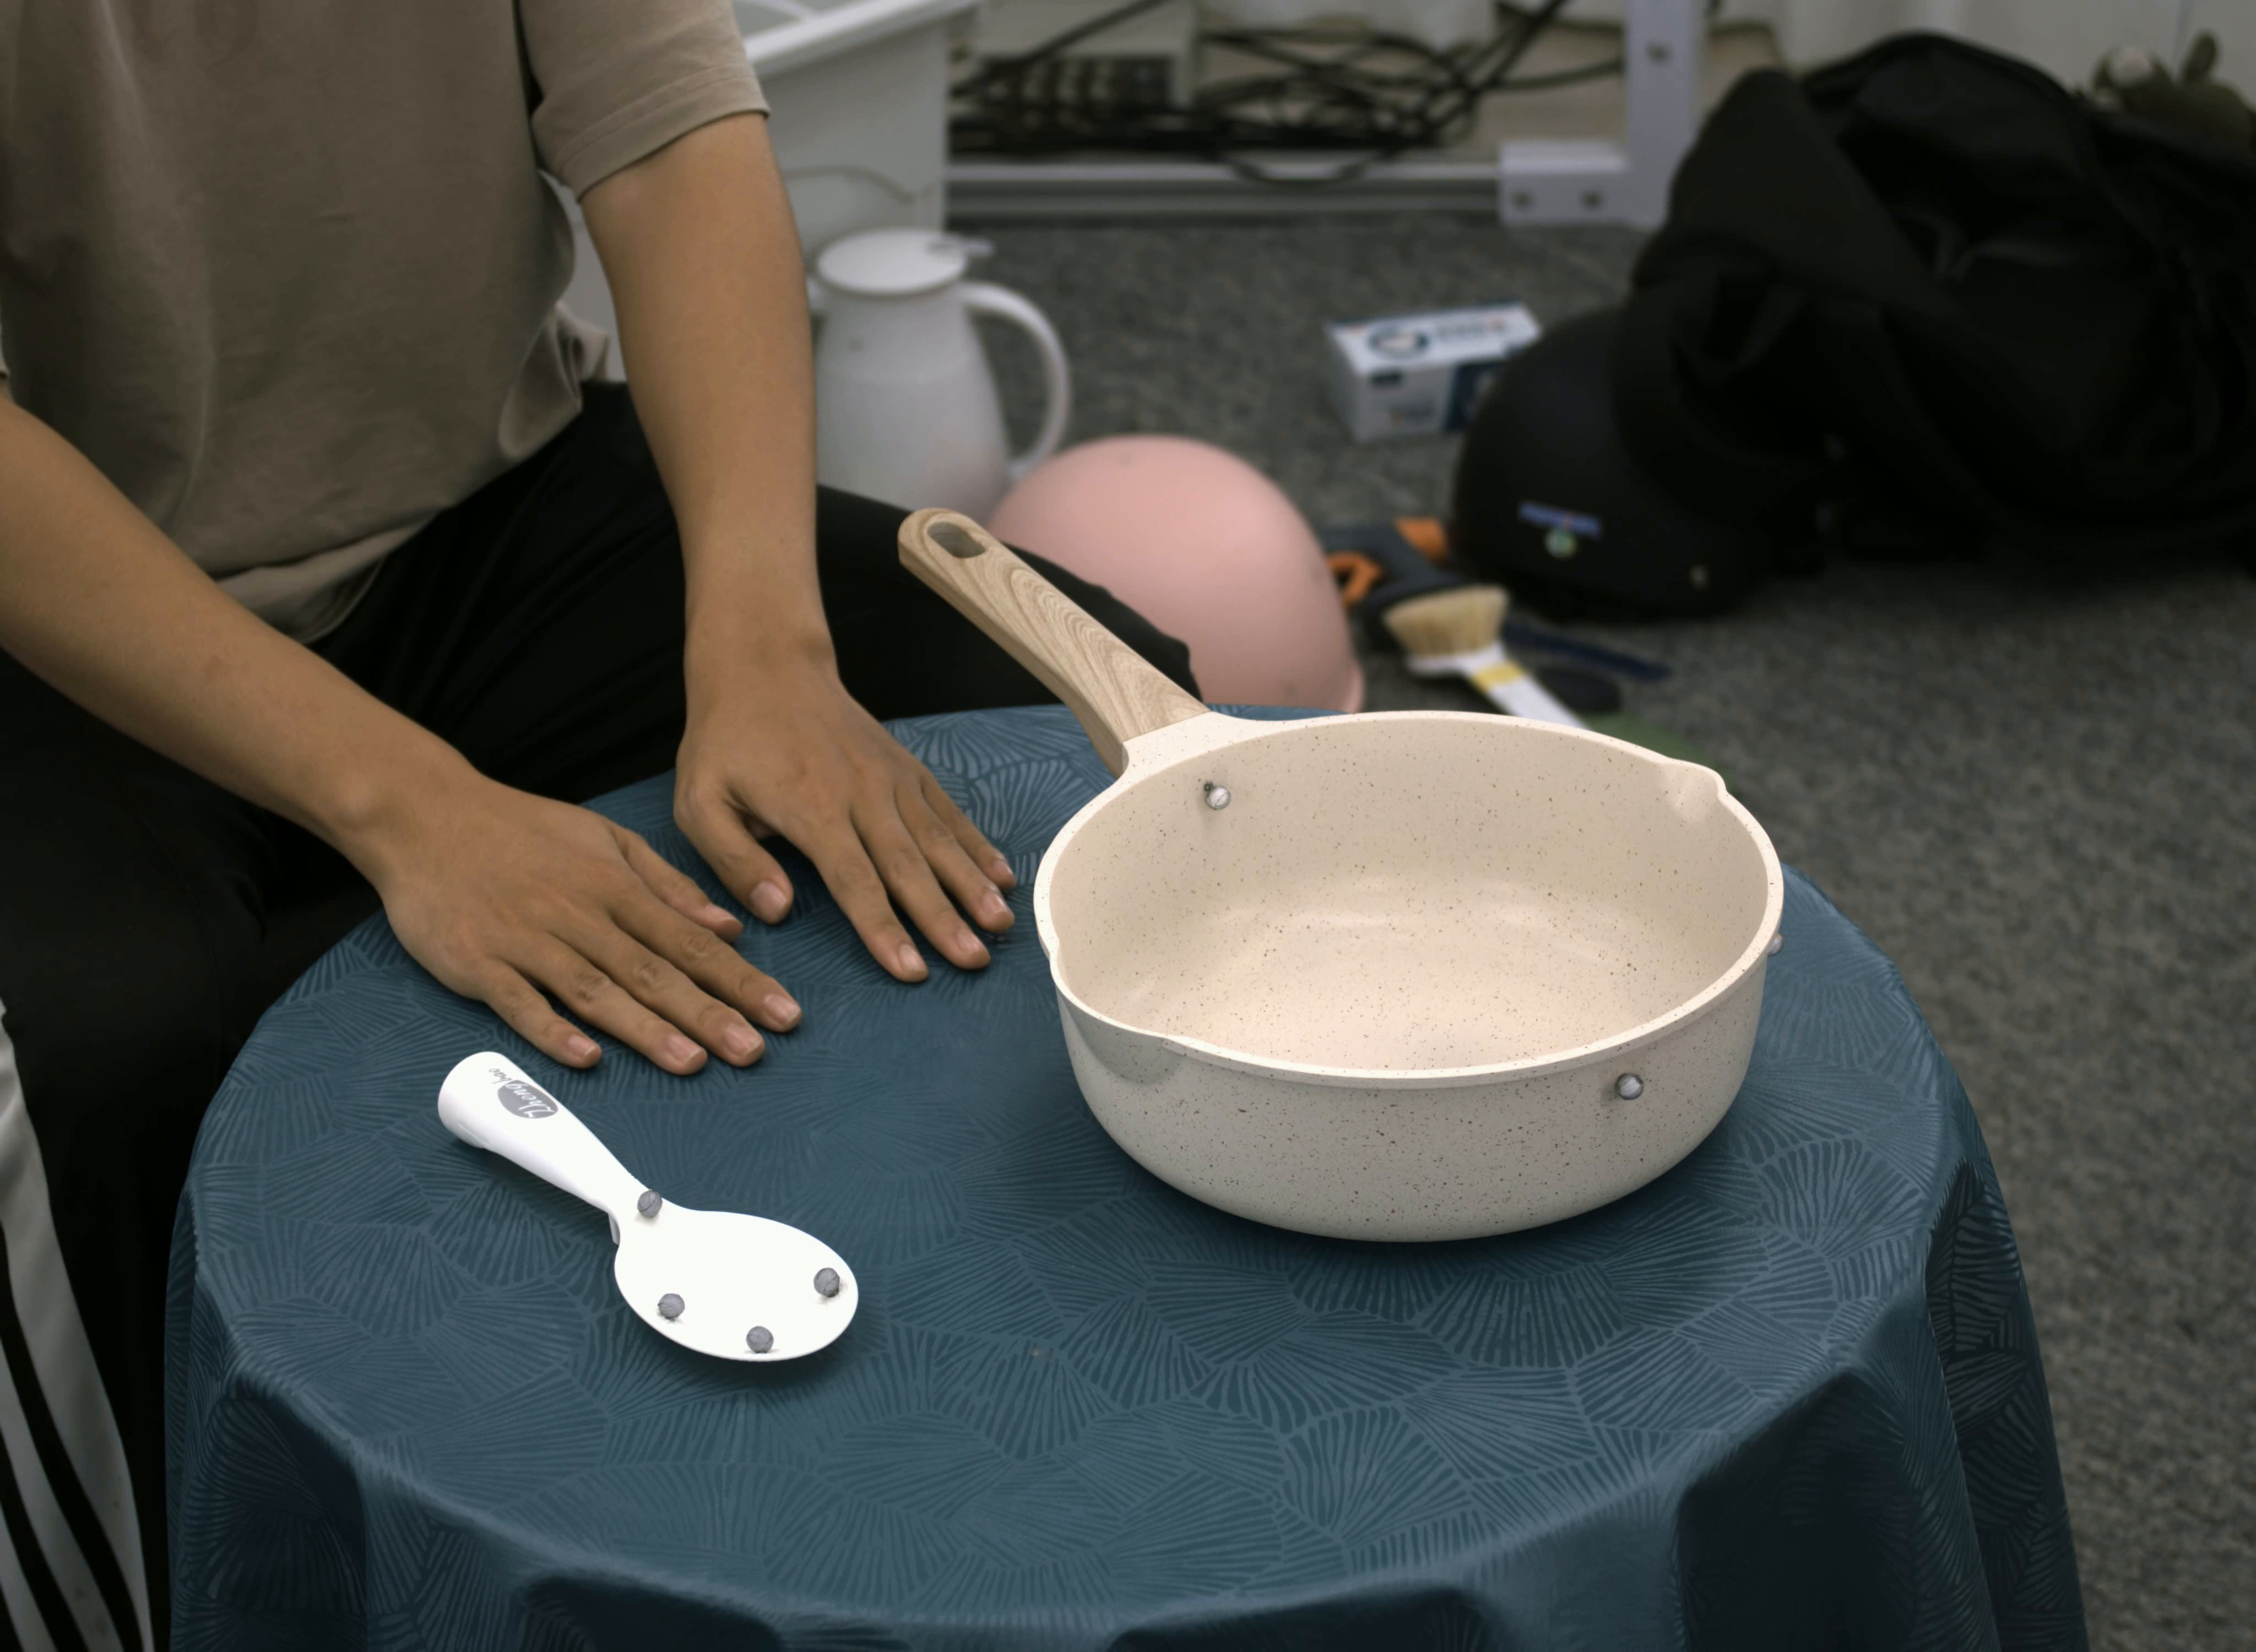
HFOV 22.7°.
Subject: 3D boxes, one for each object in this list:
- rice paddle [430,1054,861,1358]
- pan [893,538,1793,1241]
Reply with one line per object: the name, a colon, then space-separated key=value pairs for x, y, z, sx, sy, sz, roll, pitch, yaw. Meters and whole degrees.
rice paddle: x=-0.160 y=0.126 z=1.835 sx=0.069 sy=0.029 sz=0.205 roll=-24 pitch=34 yaw=-32
pan: x=0.048 y=0.014 z=1.965 sx=0.265 sy=0.101 sz=0.436 roll=-21 pitch=32 yaw=-28
